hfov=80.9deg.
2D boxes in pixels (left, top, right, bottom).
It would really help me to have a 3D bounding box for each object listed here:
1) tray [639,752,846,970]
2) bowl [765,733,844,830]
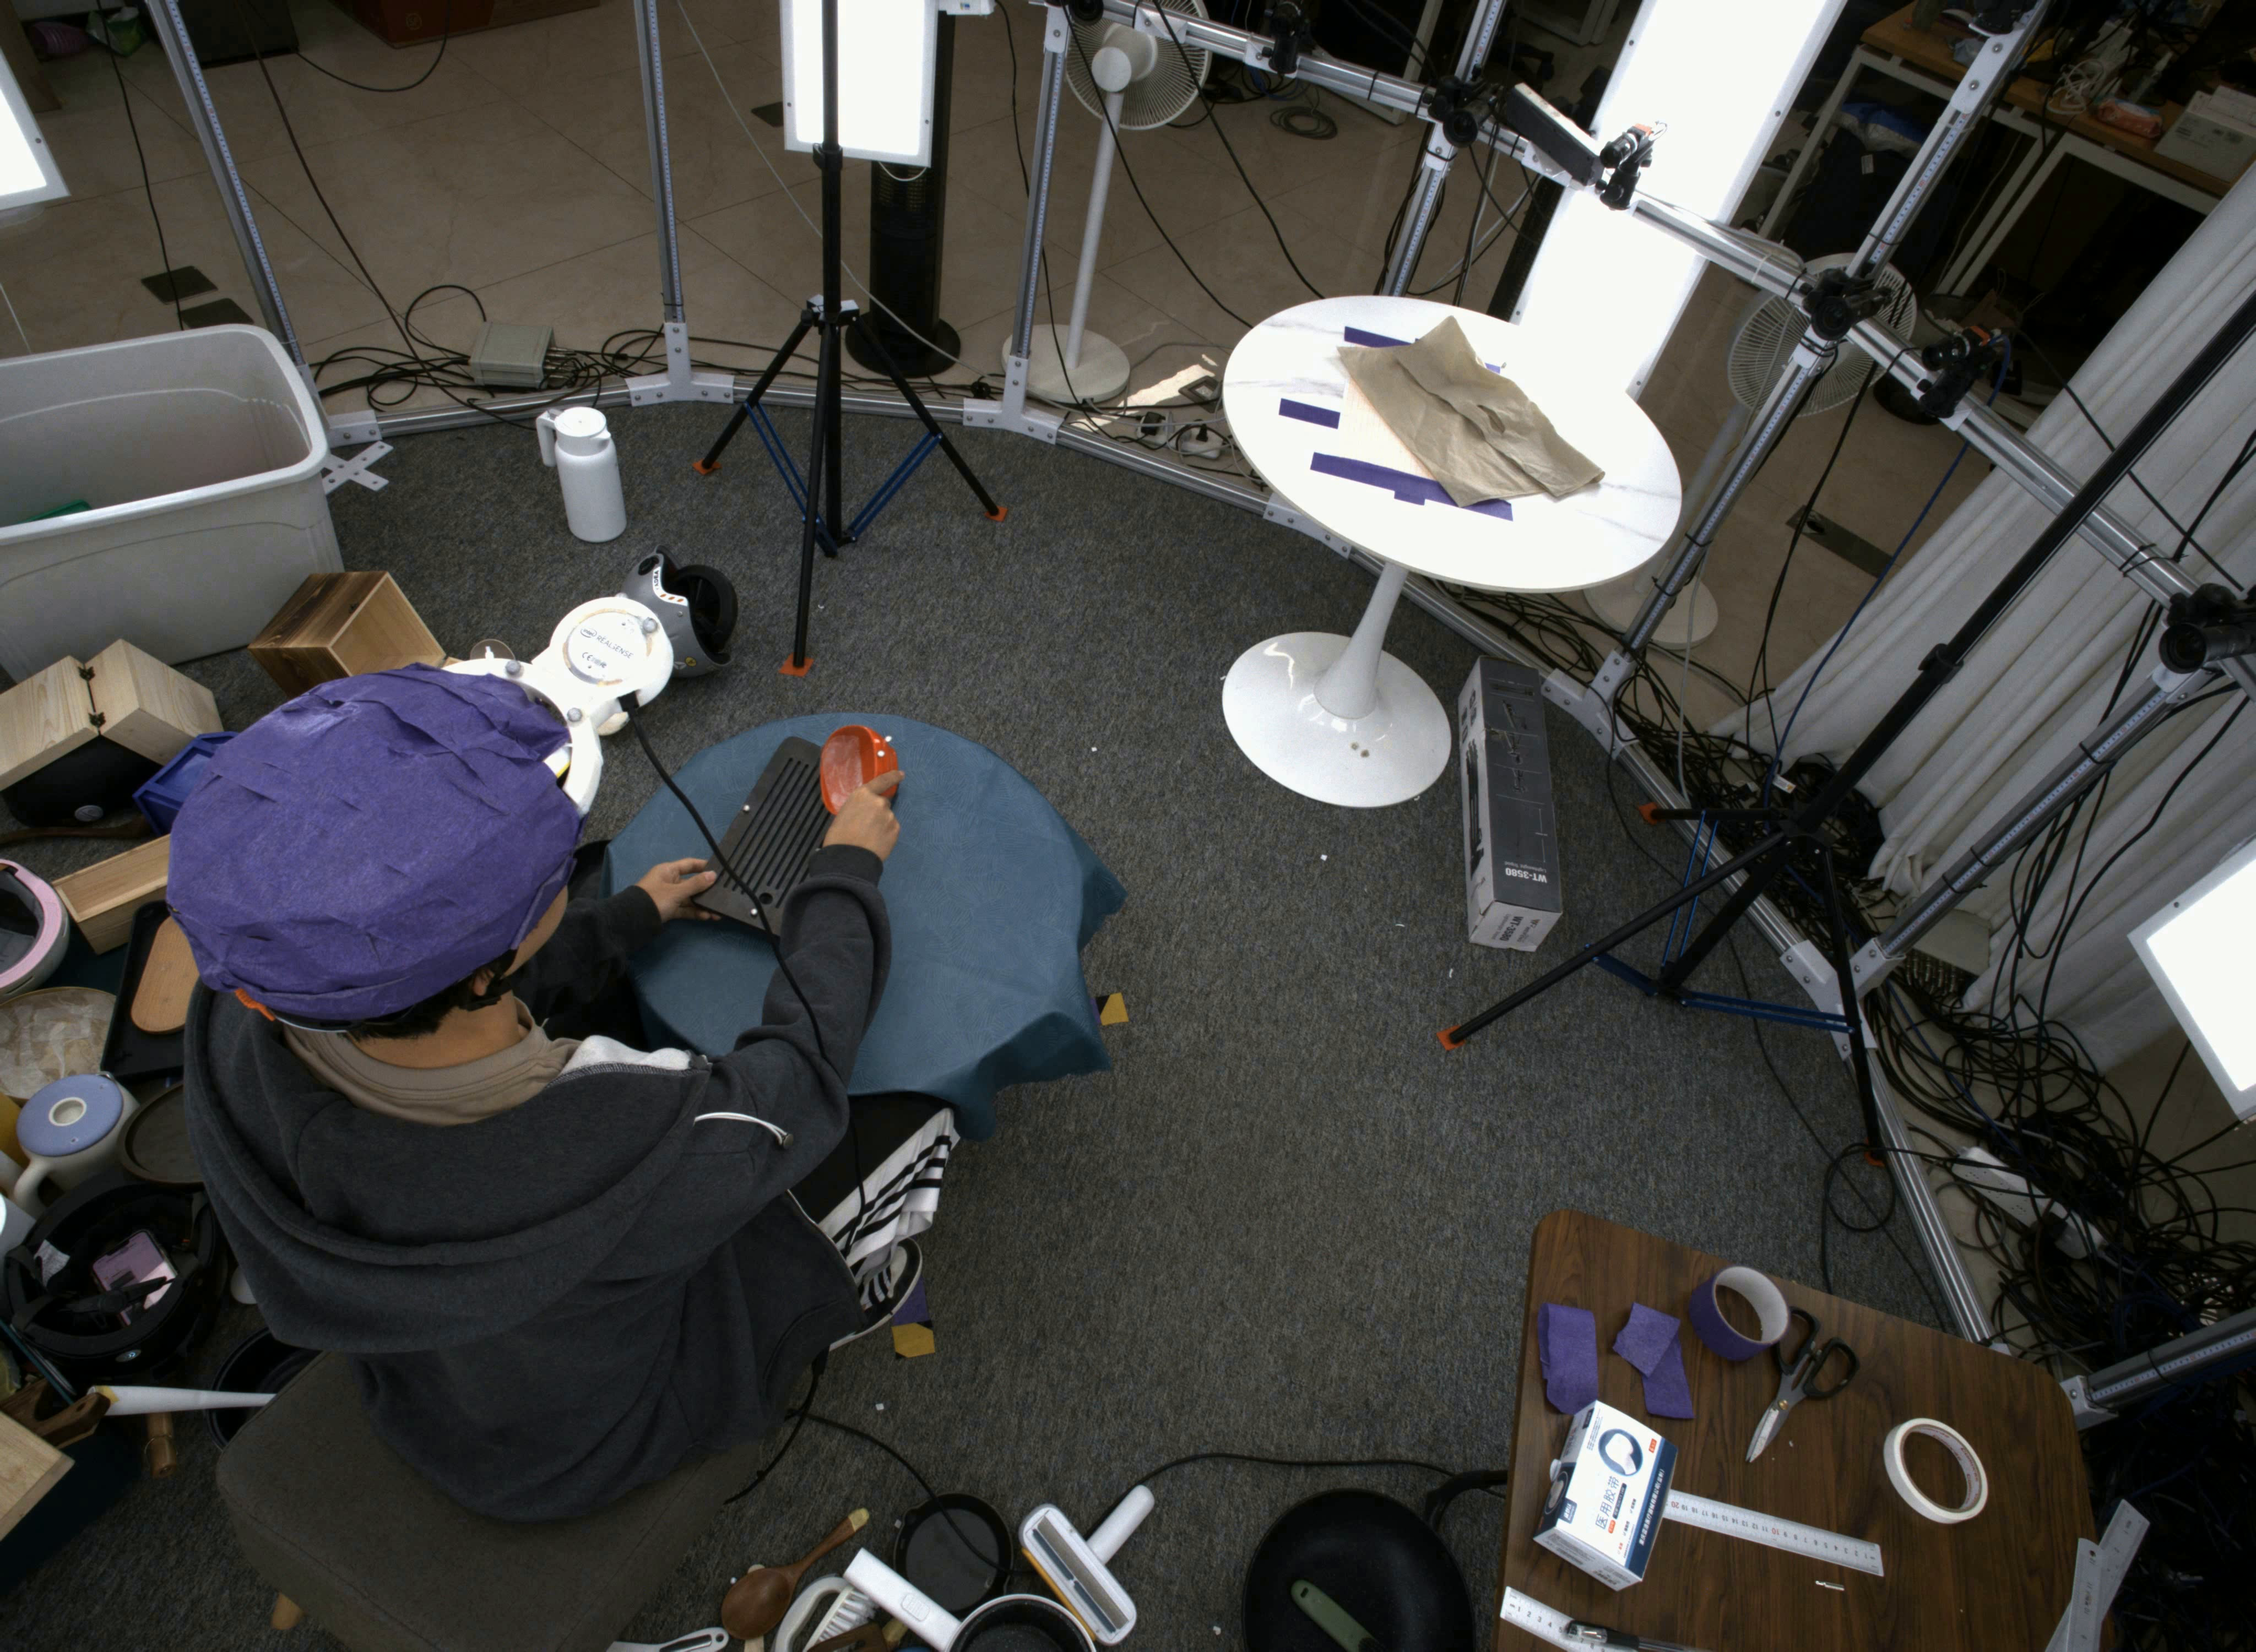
[{"bbox_3d":[-0.487,0.038,1.655,0.170,0.019,0.302,20,49,-7],"label":"tray"},{"bbox_3d":[-0.378,-0.052,1.537,0.052,0.119,0.116,2,44,-52],"label":"bowl"}]
